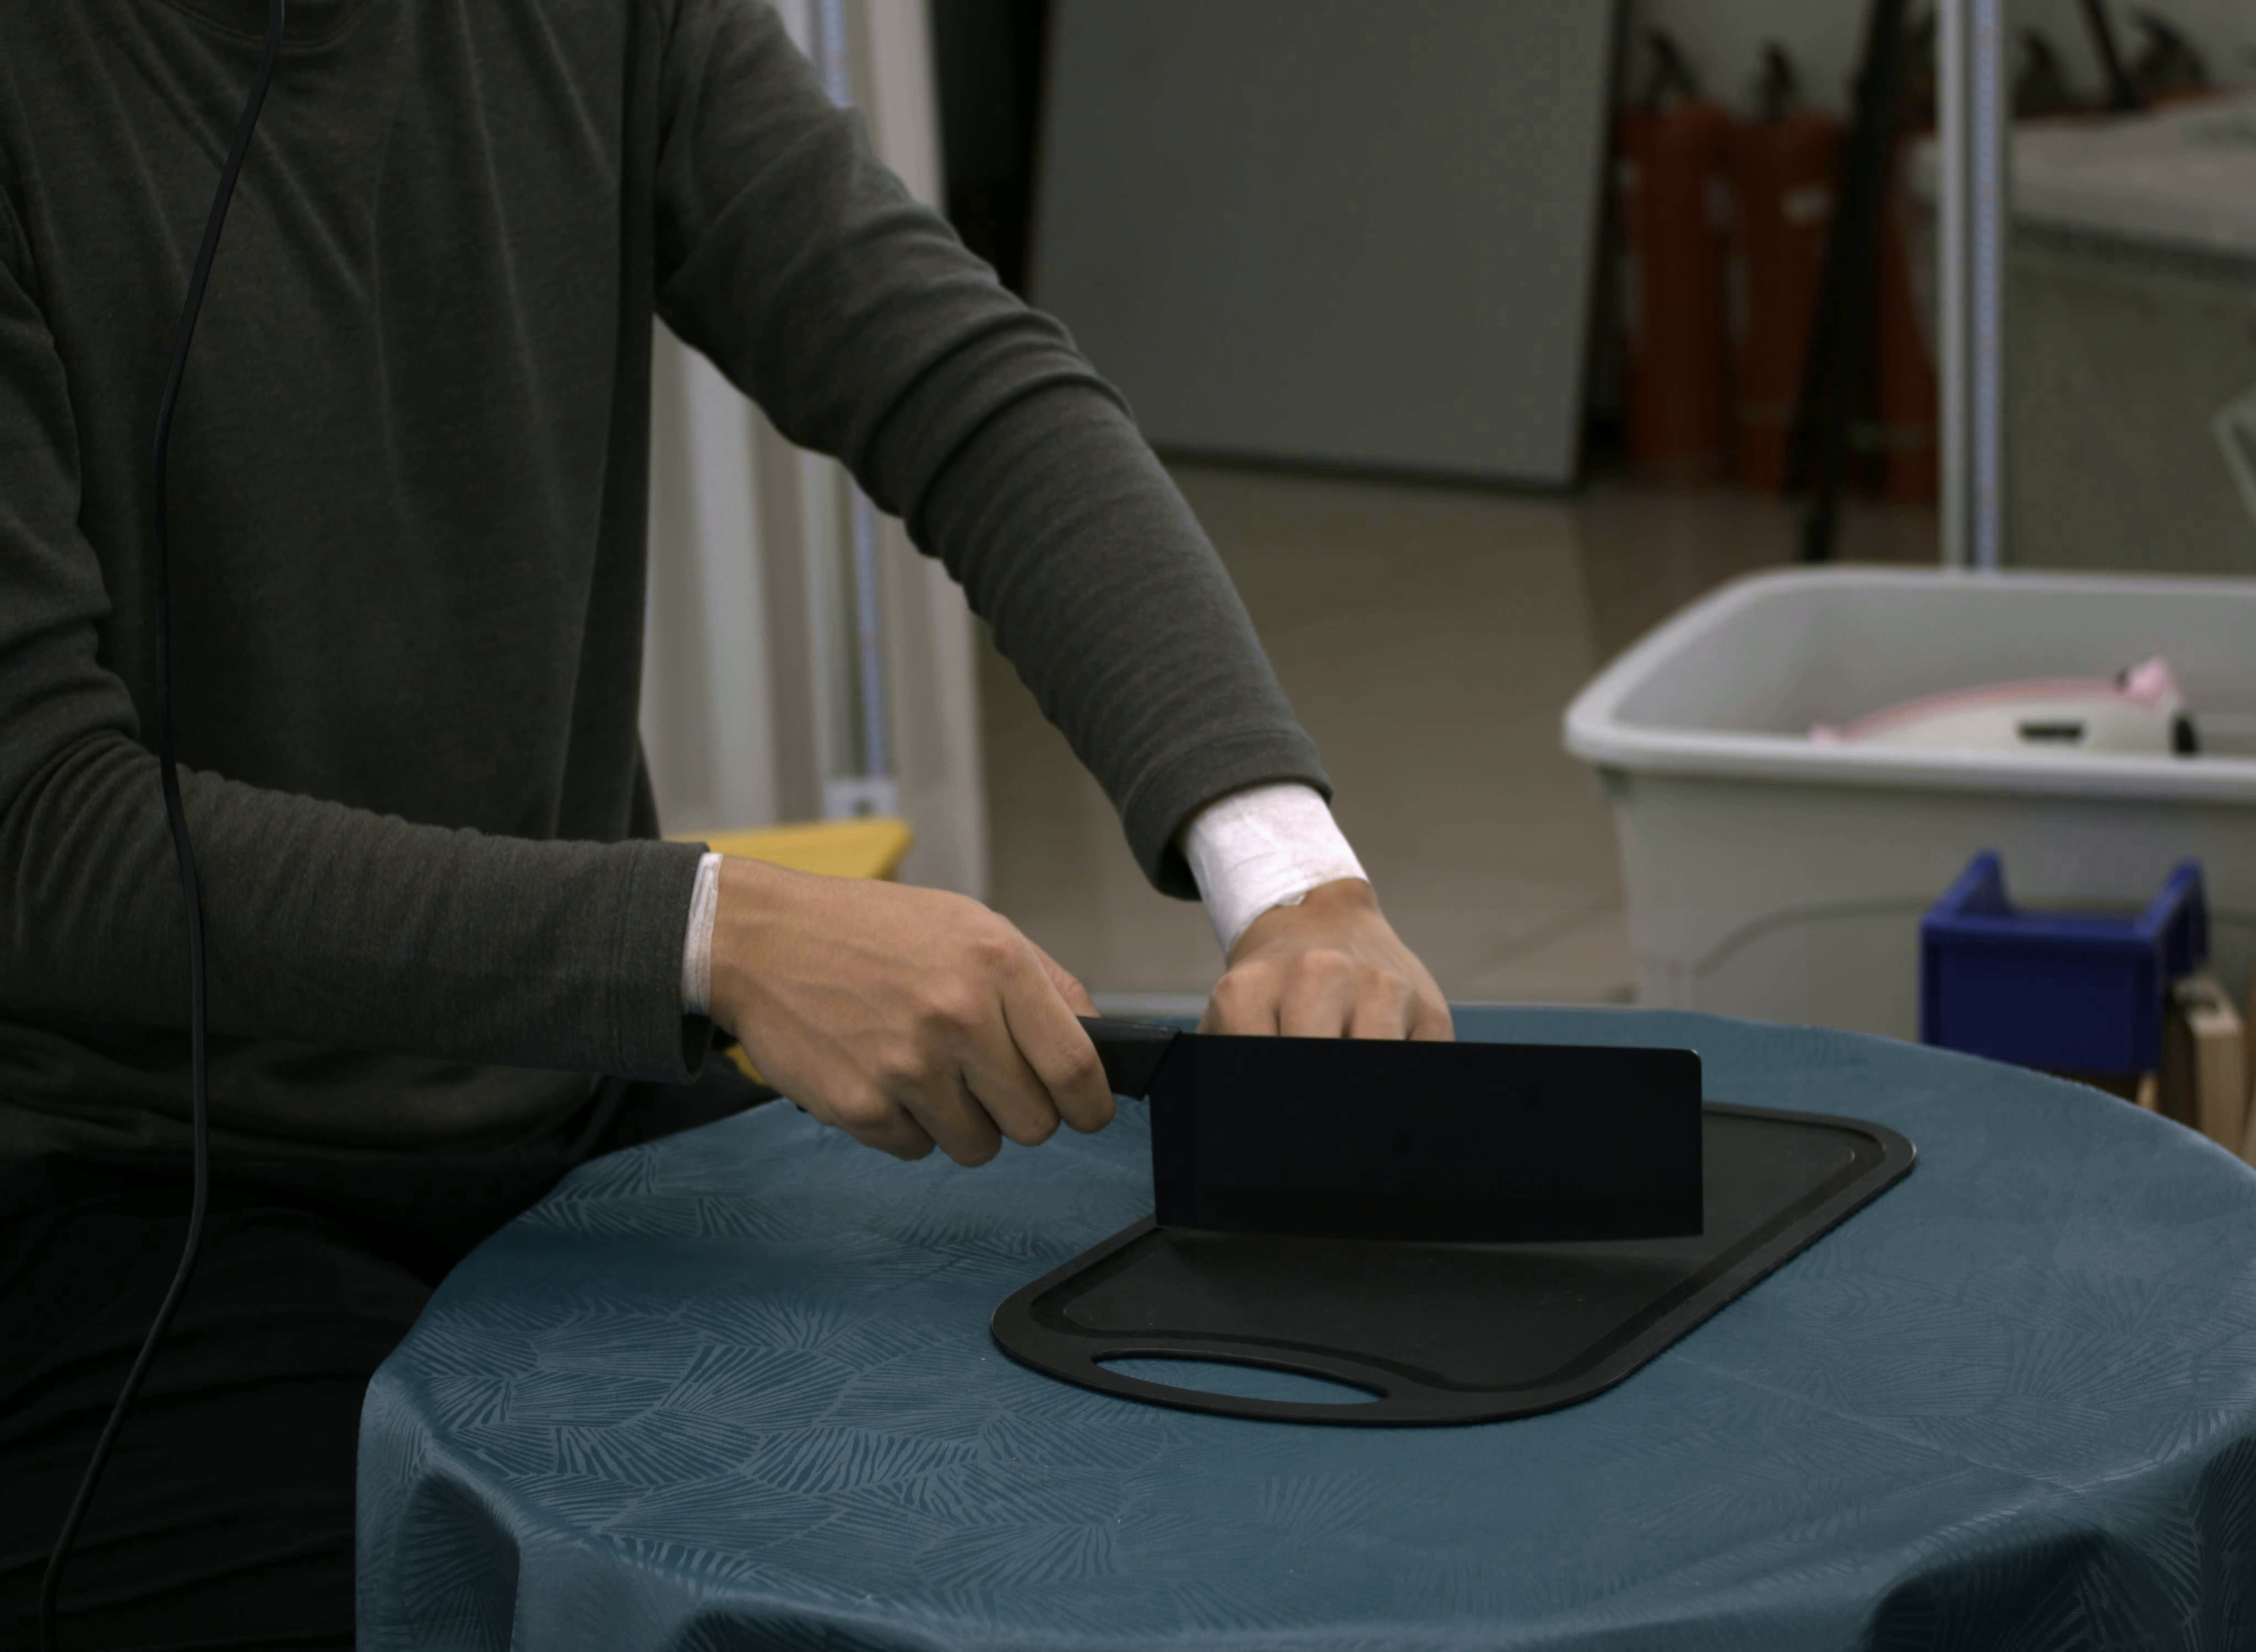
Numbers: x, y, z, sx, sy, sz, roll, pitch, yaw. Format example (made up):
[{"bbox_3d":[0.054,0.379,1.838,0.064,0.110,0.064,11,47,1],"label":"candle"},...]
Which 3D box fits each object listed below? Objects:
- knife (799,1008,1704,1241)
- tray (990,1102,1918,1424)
[{"bbox_3d":[0.037,0.093,1.705,0.302,0.082,0.020,5,11,19],"label":"knife"},{"bbox_3d":[0.104,0.129,1.691,0.212,0.010,0.320,6,16,32],"label":"tray"}]
